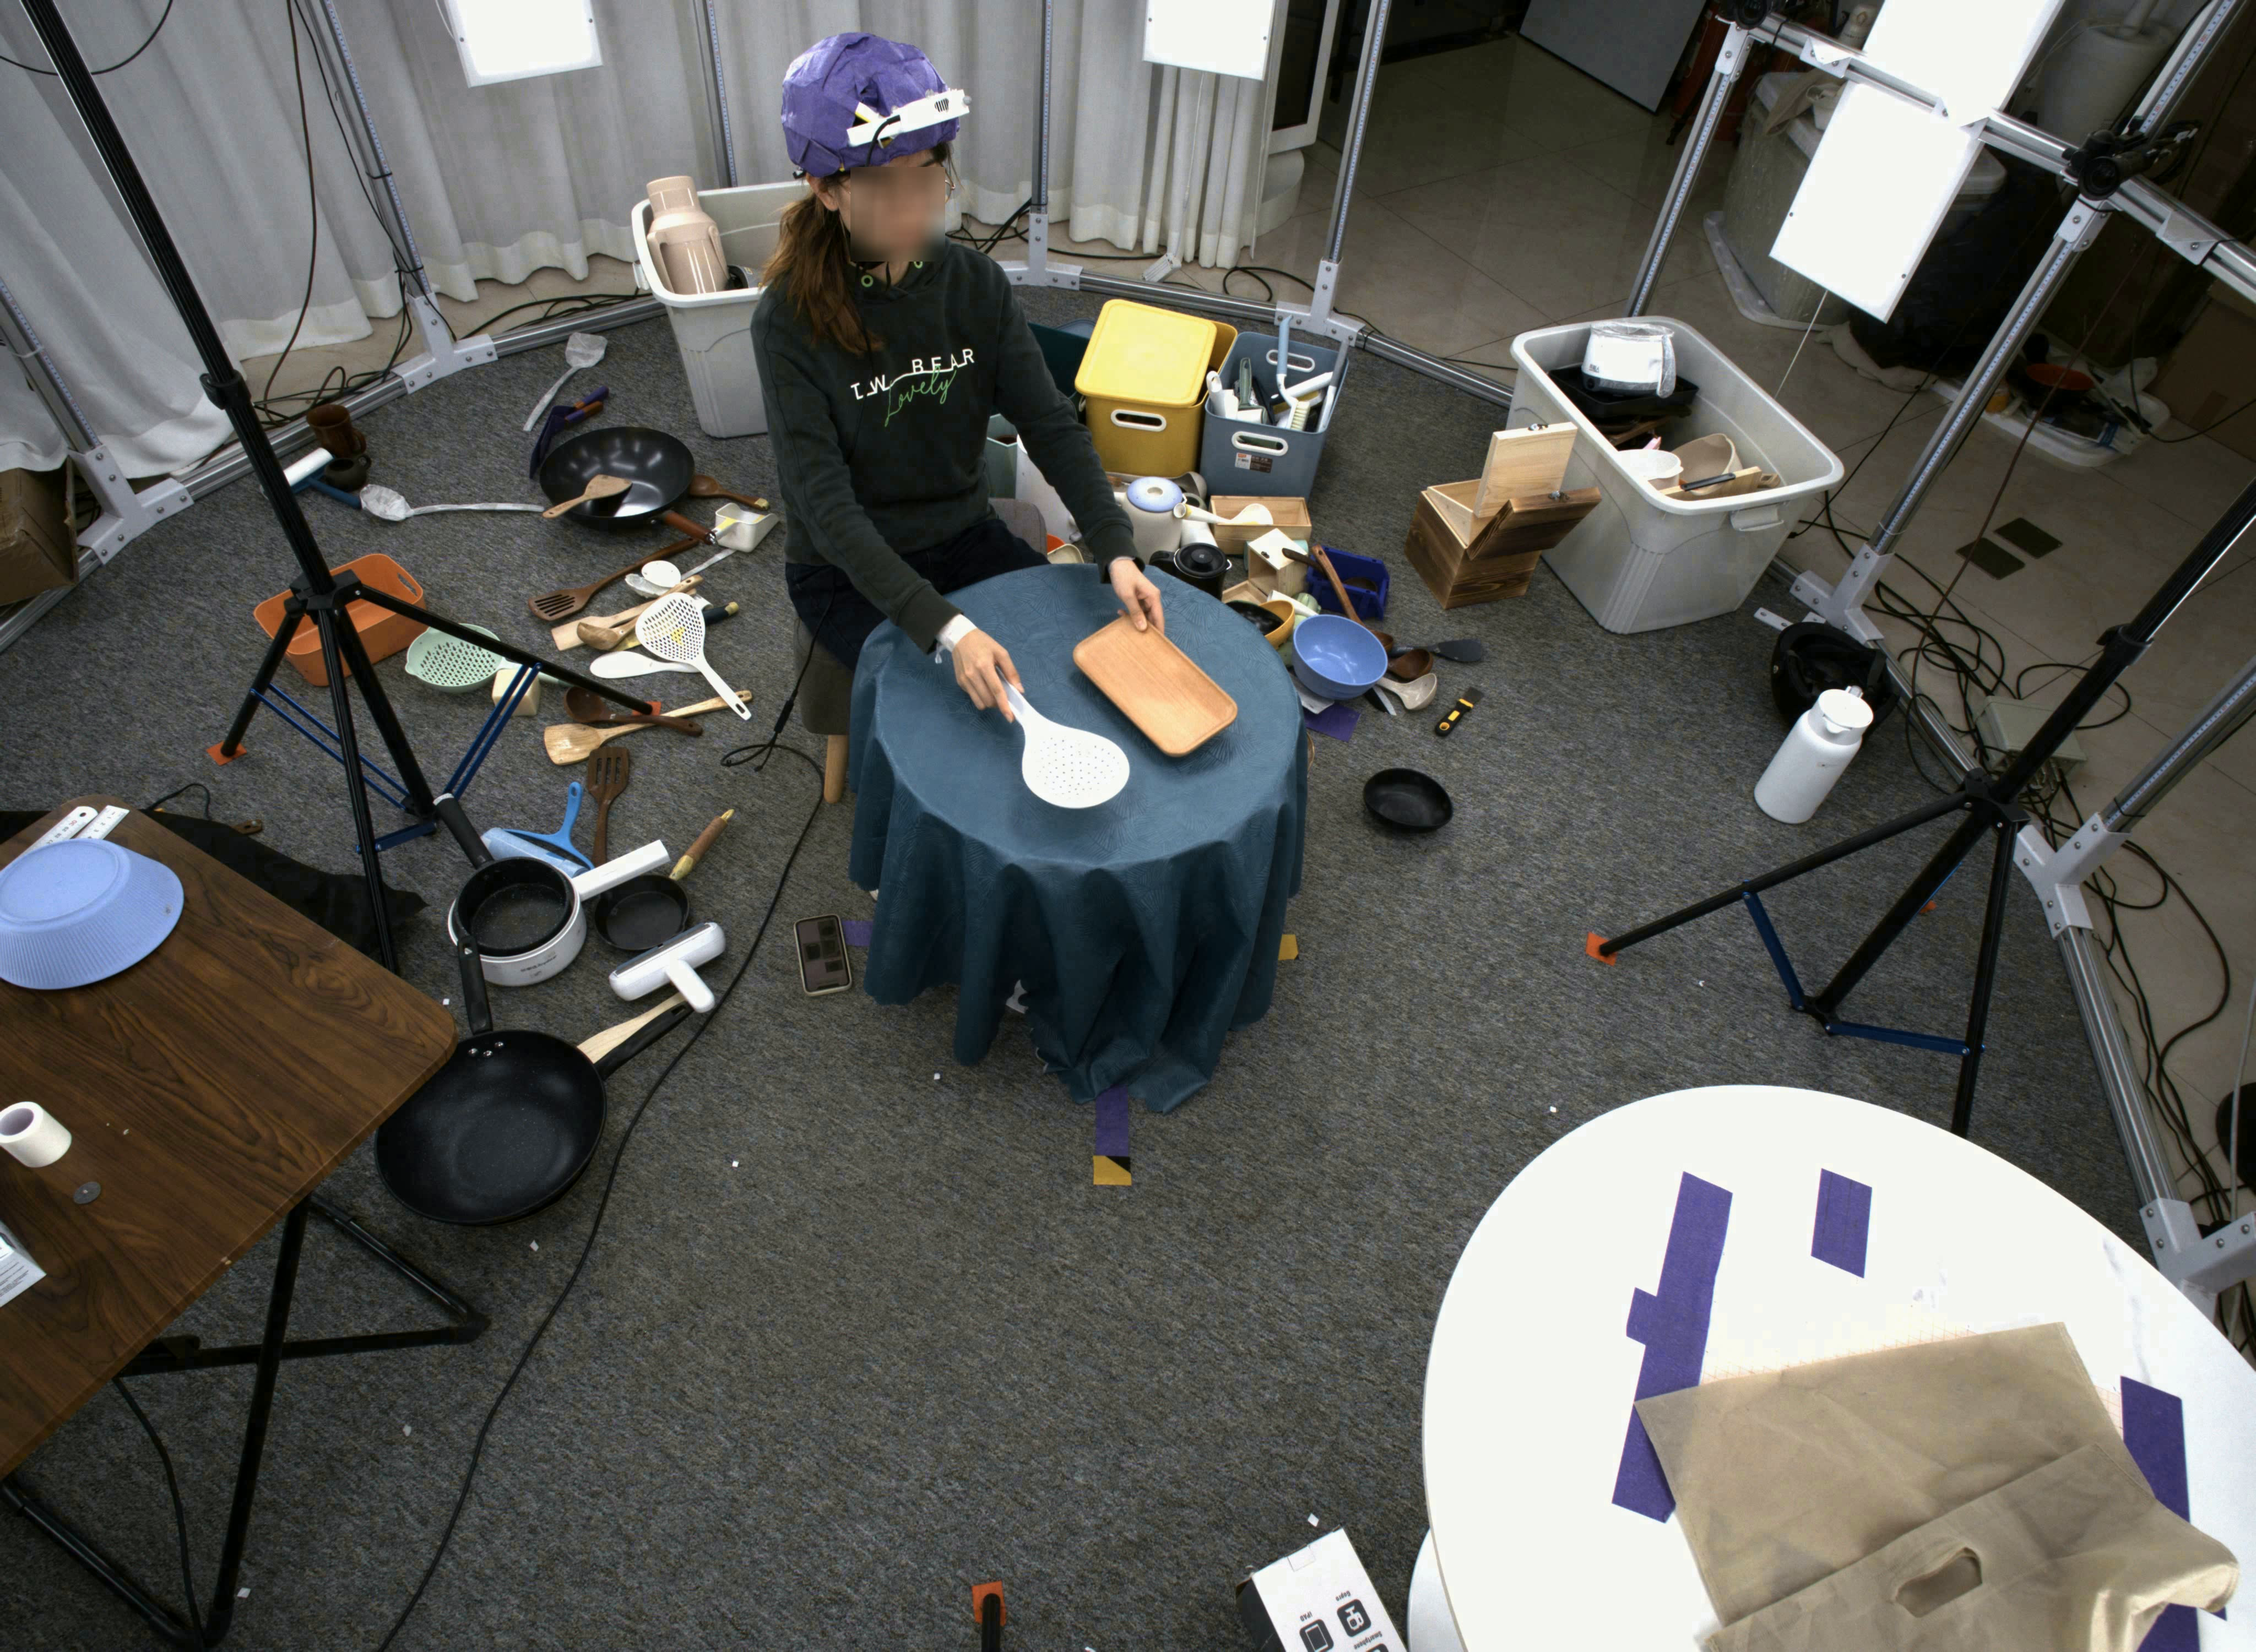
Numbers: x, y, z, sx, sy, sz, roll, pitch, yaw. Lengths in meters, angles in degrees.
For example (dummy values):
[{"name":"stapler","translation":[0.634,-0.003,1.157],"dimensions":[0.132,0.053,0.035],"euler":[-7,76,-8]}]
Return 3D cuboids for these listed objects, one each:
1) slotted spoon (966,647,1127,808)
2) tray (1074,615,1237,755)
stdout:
[{"name":"slotted spoon","translation":[-0.127,-0.138,1.722],"dimensions":[0.136,0.044,0.357],"euler":[-23,55,-23]},{"name":"tray","translation":[0.037,-0.202,1.813],"dimensions":[0.131,0.022,0.255],"euler":[-32,57,-18]}]
